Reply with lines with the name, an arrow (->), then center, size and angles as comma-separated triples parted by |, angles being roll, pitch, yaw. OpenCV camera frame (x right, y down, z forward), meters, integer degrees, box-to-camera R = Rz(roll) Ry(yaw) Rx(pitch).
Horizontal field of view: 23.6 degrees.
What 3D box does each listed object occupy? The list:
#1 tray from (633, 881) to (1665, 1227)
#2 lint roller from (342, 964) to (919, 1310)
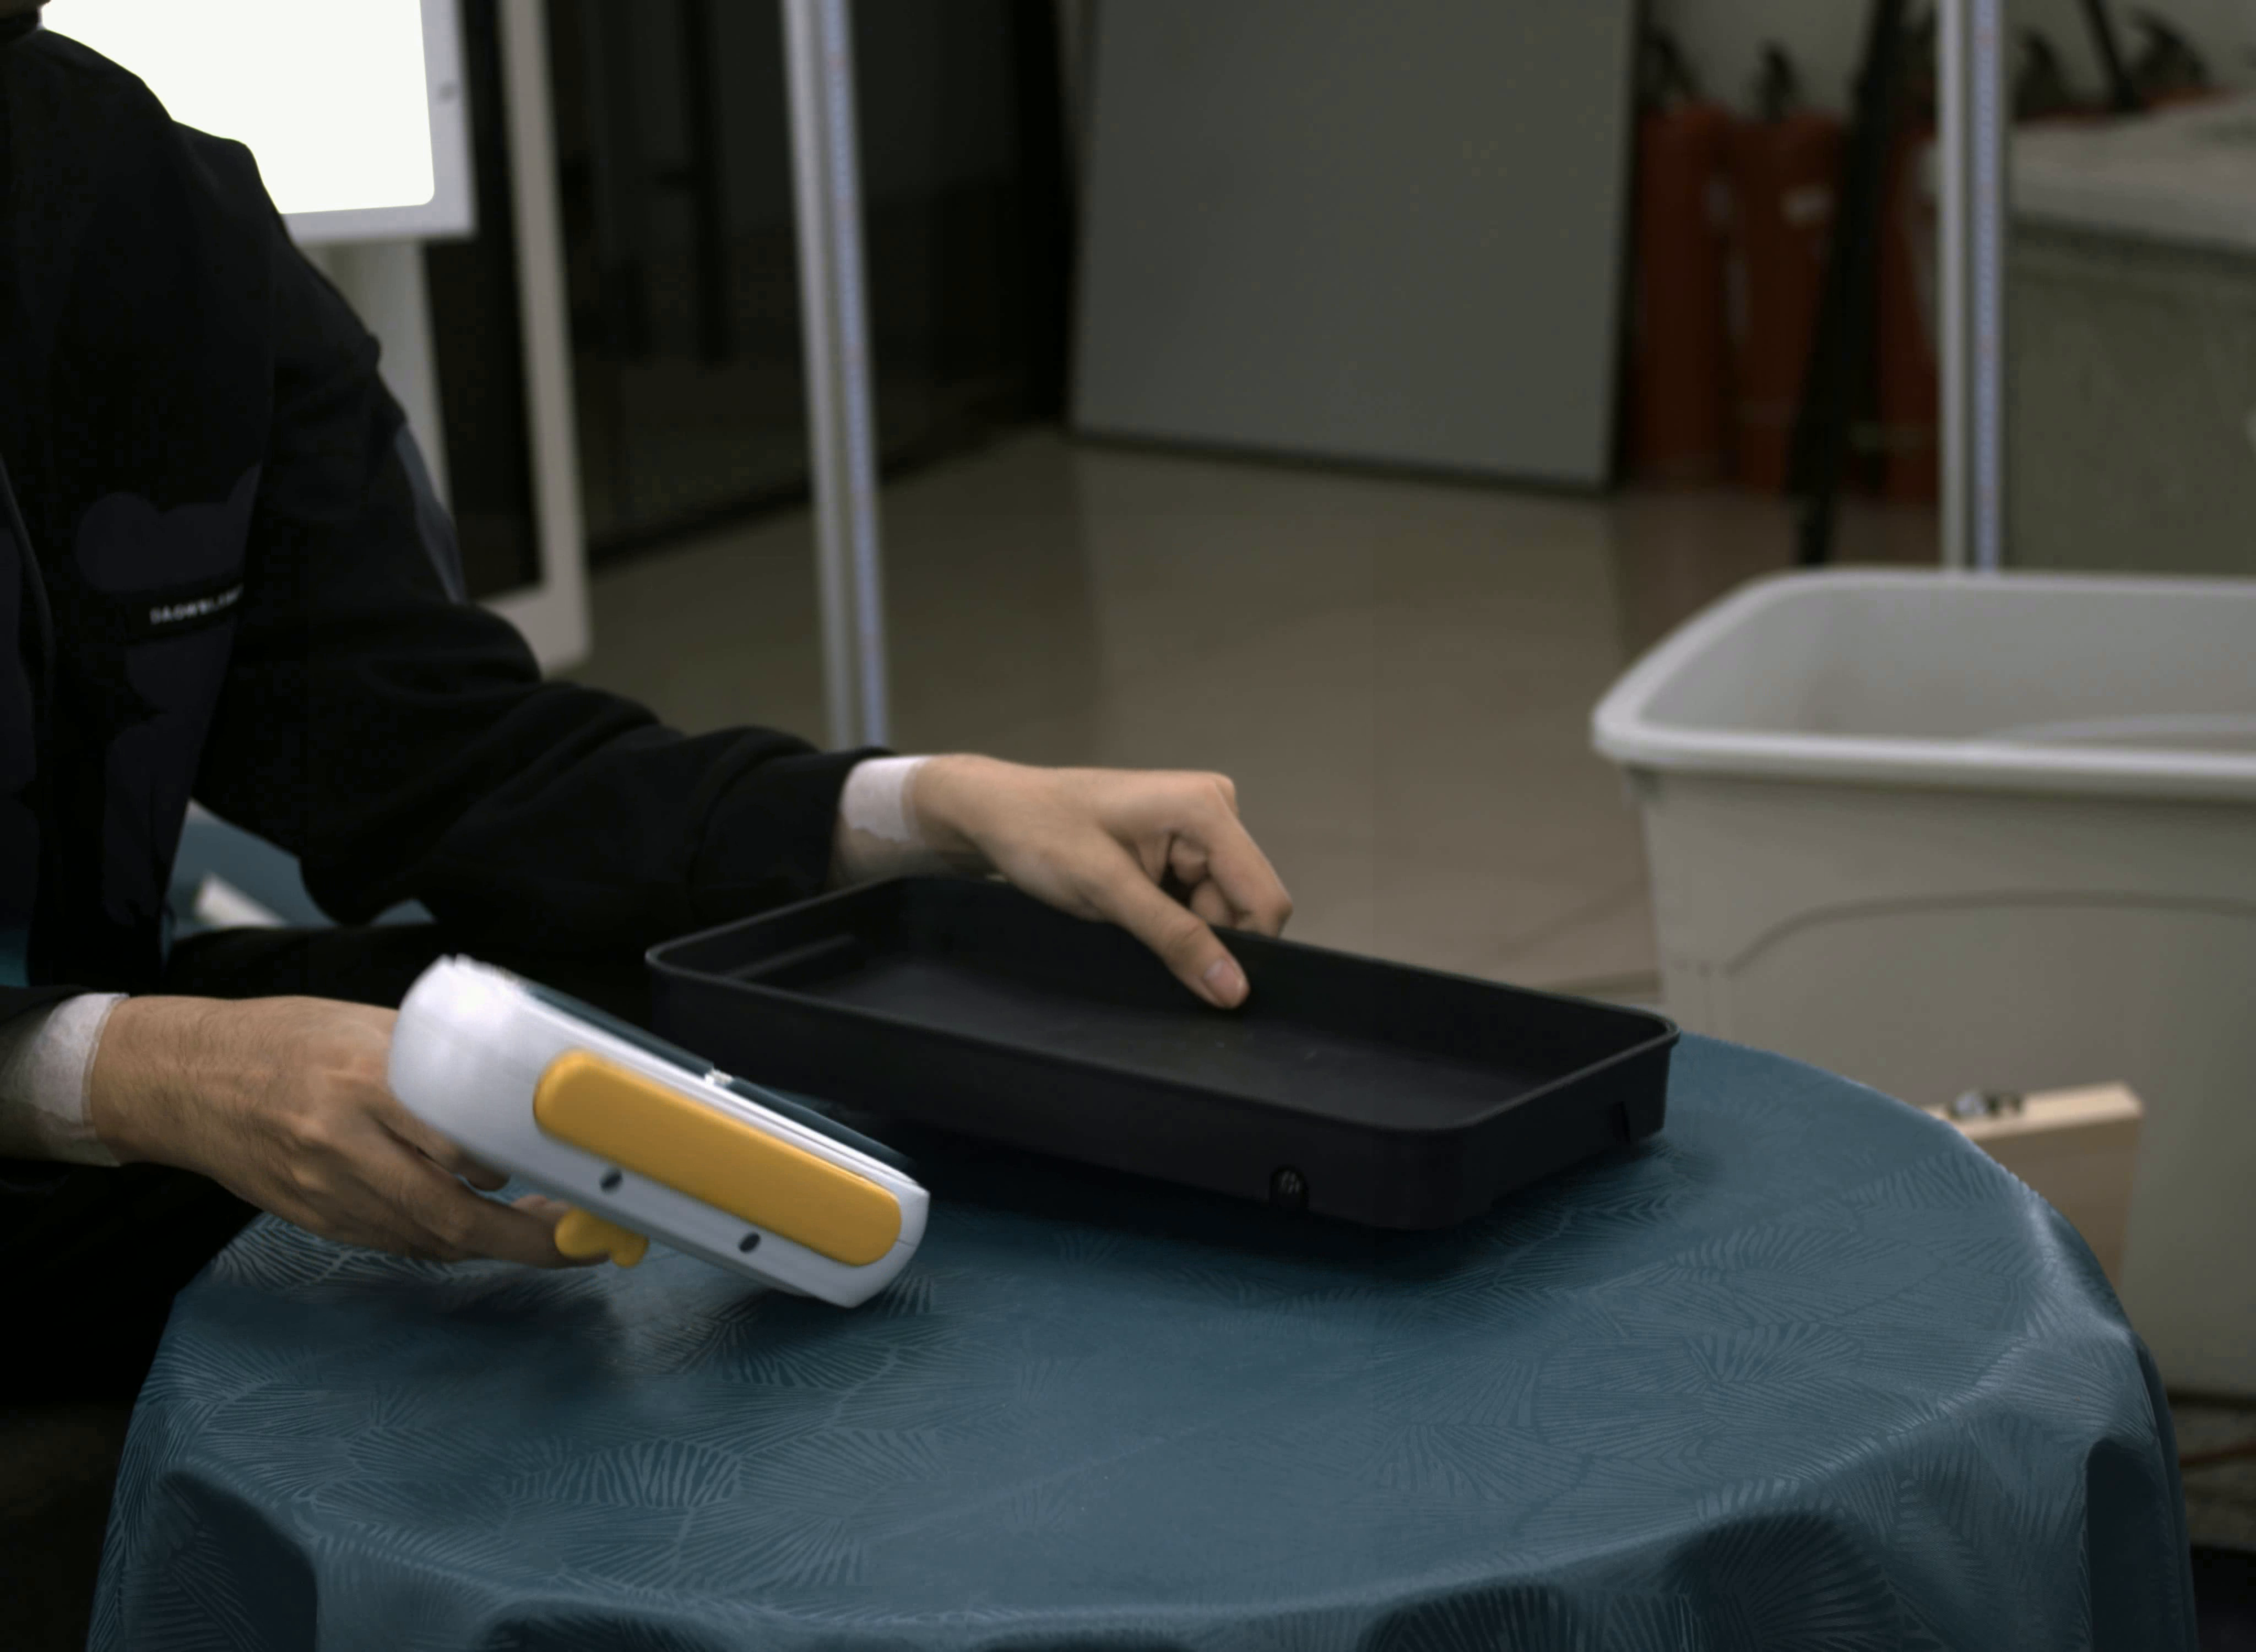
tray -> 0.006, 0.072, 1.800 | 0.319, 0.037, 0.181 | 10, 14, 31
lint roller -> -0.182, 0.094, 1.681 | 0.189, 0.075, 0.194 | 20, -5, -35
